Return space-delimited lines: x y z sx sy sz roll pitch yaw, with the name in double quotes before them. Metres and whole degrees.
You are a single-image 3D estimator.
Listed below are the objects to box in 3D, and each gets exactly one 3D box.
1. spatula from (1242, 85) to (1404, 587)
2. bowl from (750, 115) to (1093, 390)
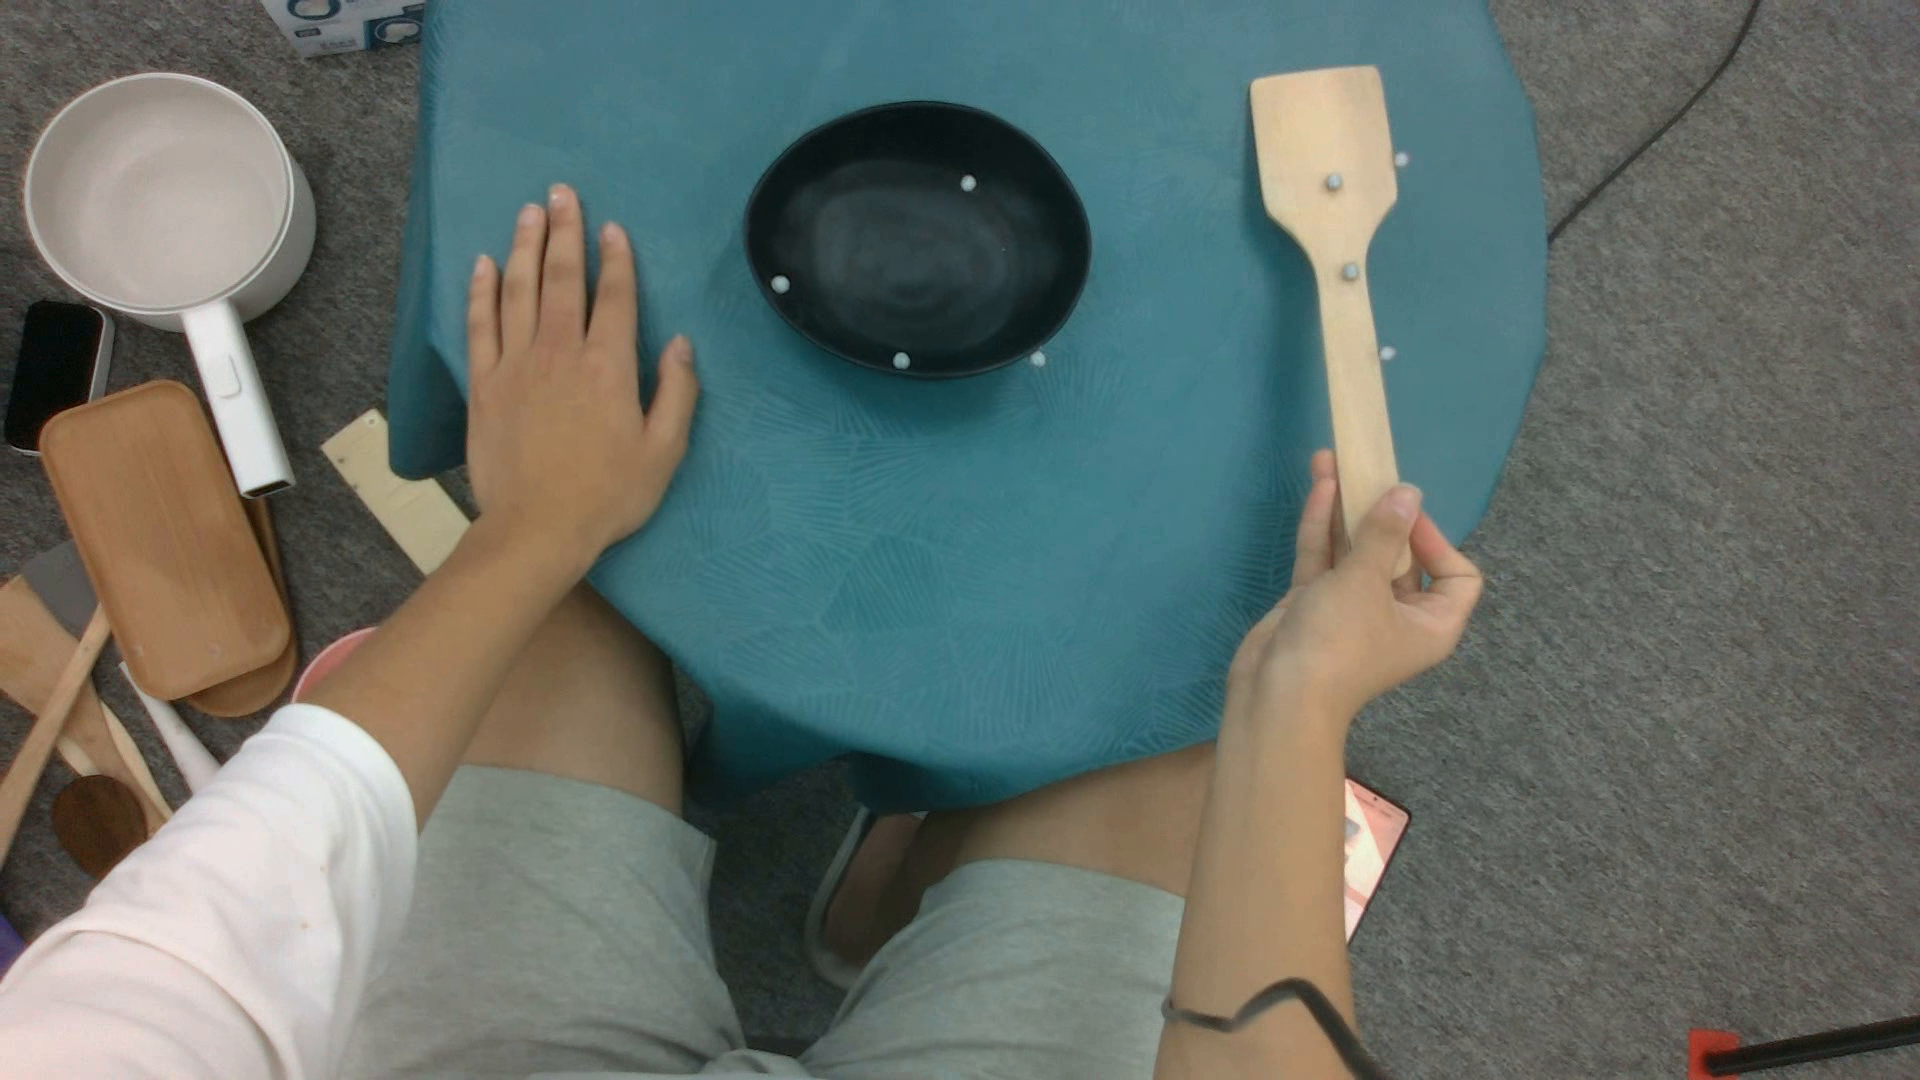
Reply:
"spatula" 0.199 -0.114 0.719 0.072 0.010 0.294 -4 69 4
"bowl" -0.021 -0.138 0.701 0.170 0.066 0.137 0 83 -6
